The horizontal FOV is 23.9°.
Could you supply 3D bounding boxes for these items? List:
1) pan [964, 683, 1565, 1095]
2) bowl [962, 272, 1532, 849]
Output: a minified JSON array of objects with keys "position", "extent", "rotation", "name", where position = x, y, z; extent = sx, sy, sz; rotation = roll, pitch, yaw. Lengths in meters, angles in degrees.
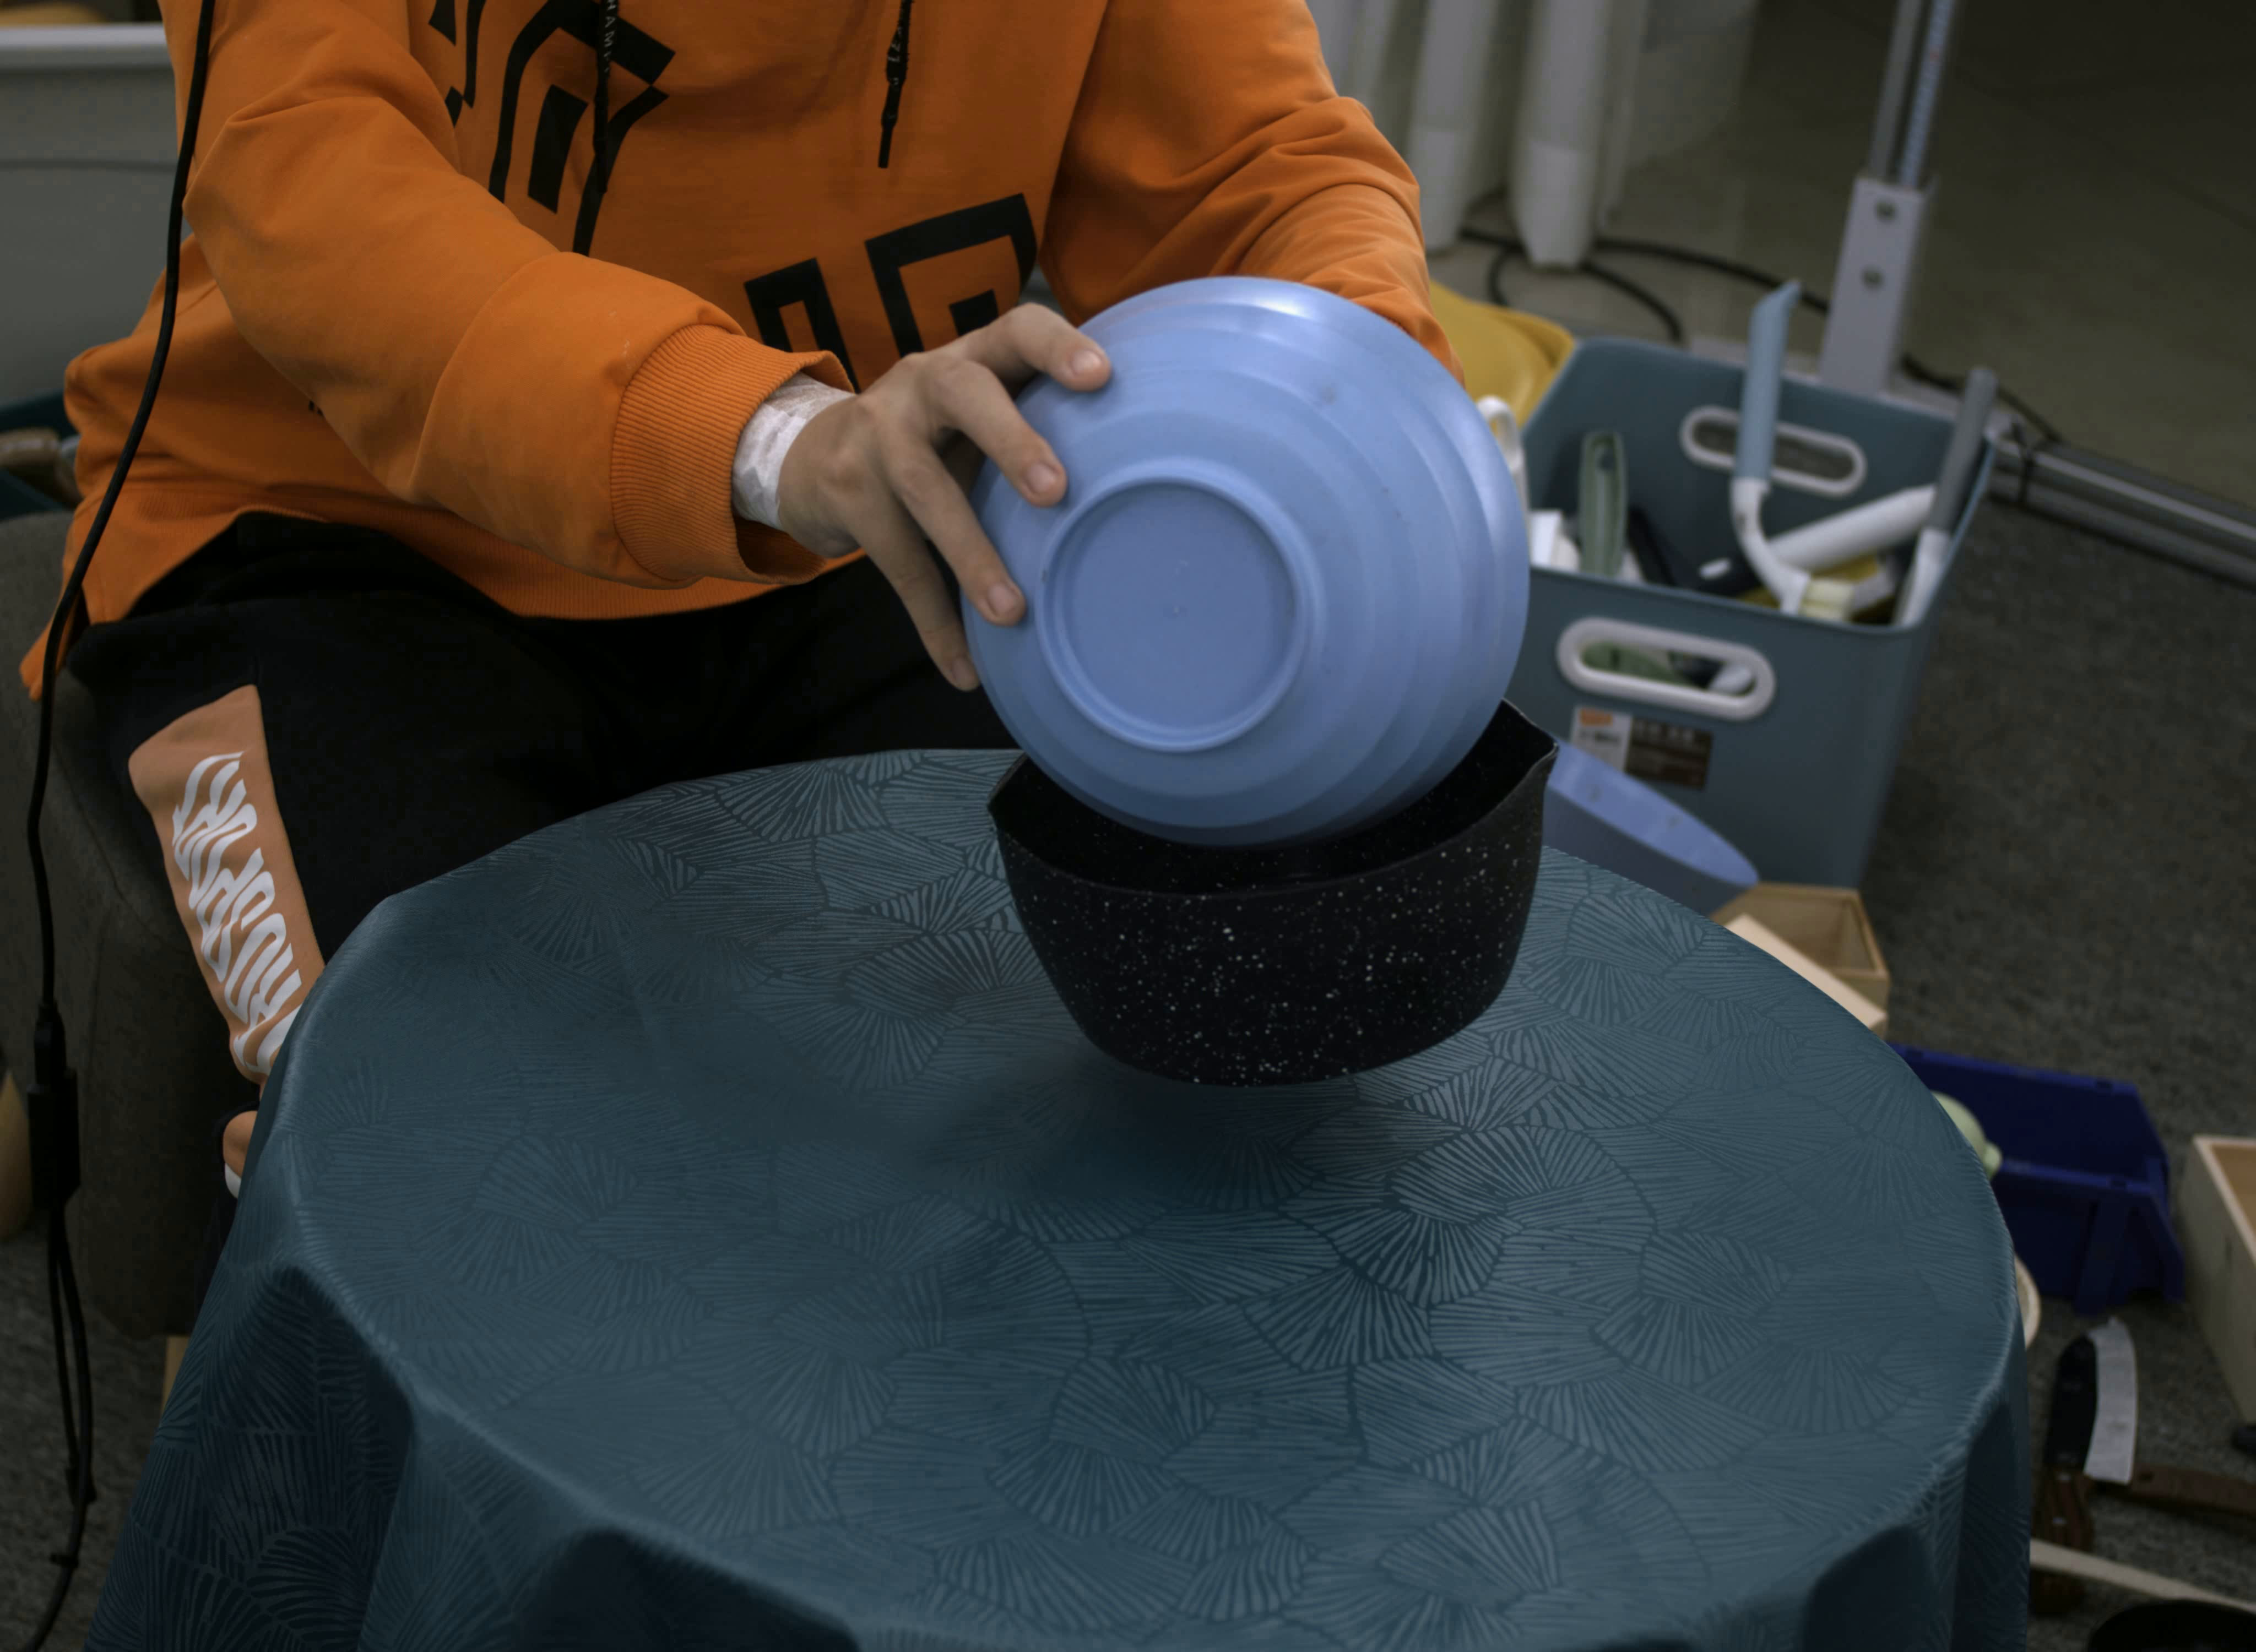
[{"position":[0.049,-0.026,1.891],"extent":[0.207,0.108,0.345],"rotation":[-8,26,4],"name":"pan"},{"position":[0.027,-0.079,1.753],"extent":[0.197,0.196,0.095],"rotation":[15,16,15],"name":"bowl"}]
